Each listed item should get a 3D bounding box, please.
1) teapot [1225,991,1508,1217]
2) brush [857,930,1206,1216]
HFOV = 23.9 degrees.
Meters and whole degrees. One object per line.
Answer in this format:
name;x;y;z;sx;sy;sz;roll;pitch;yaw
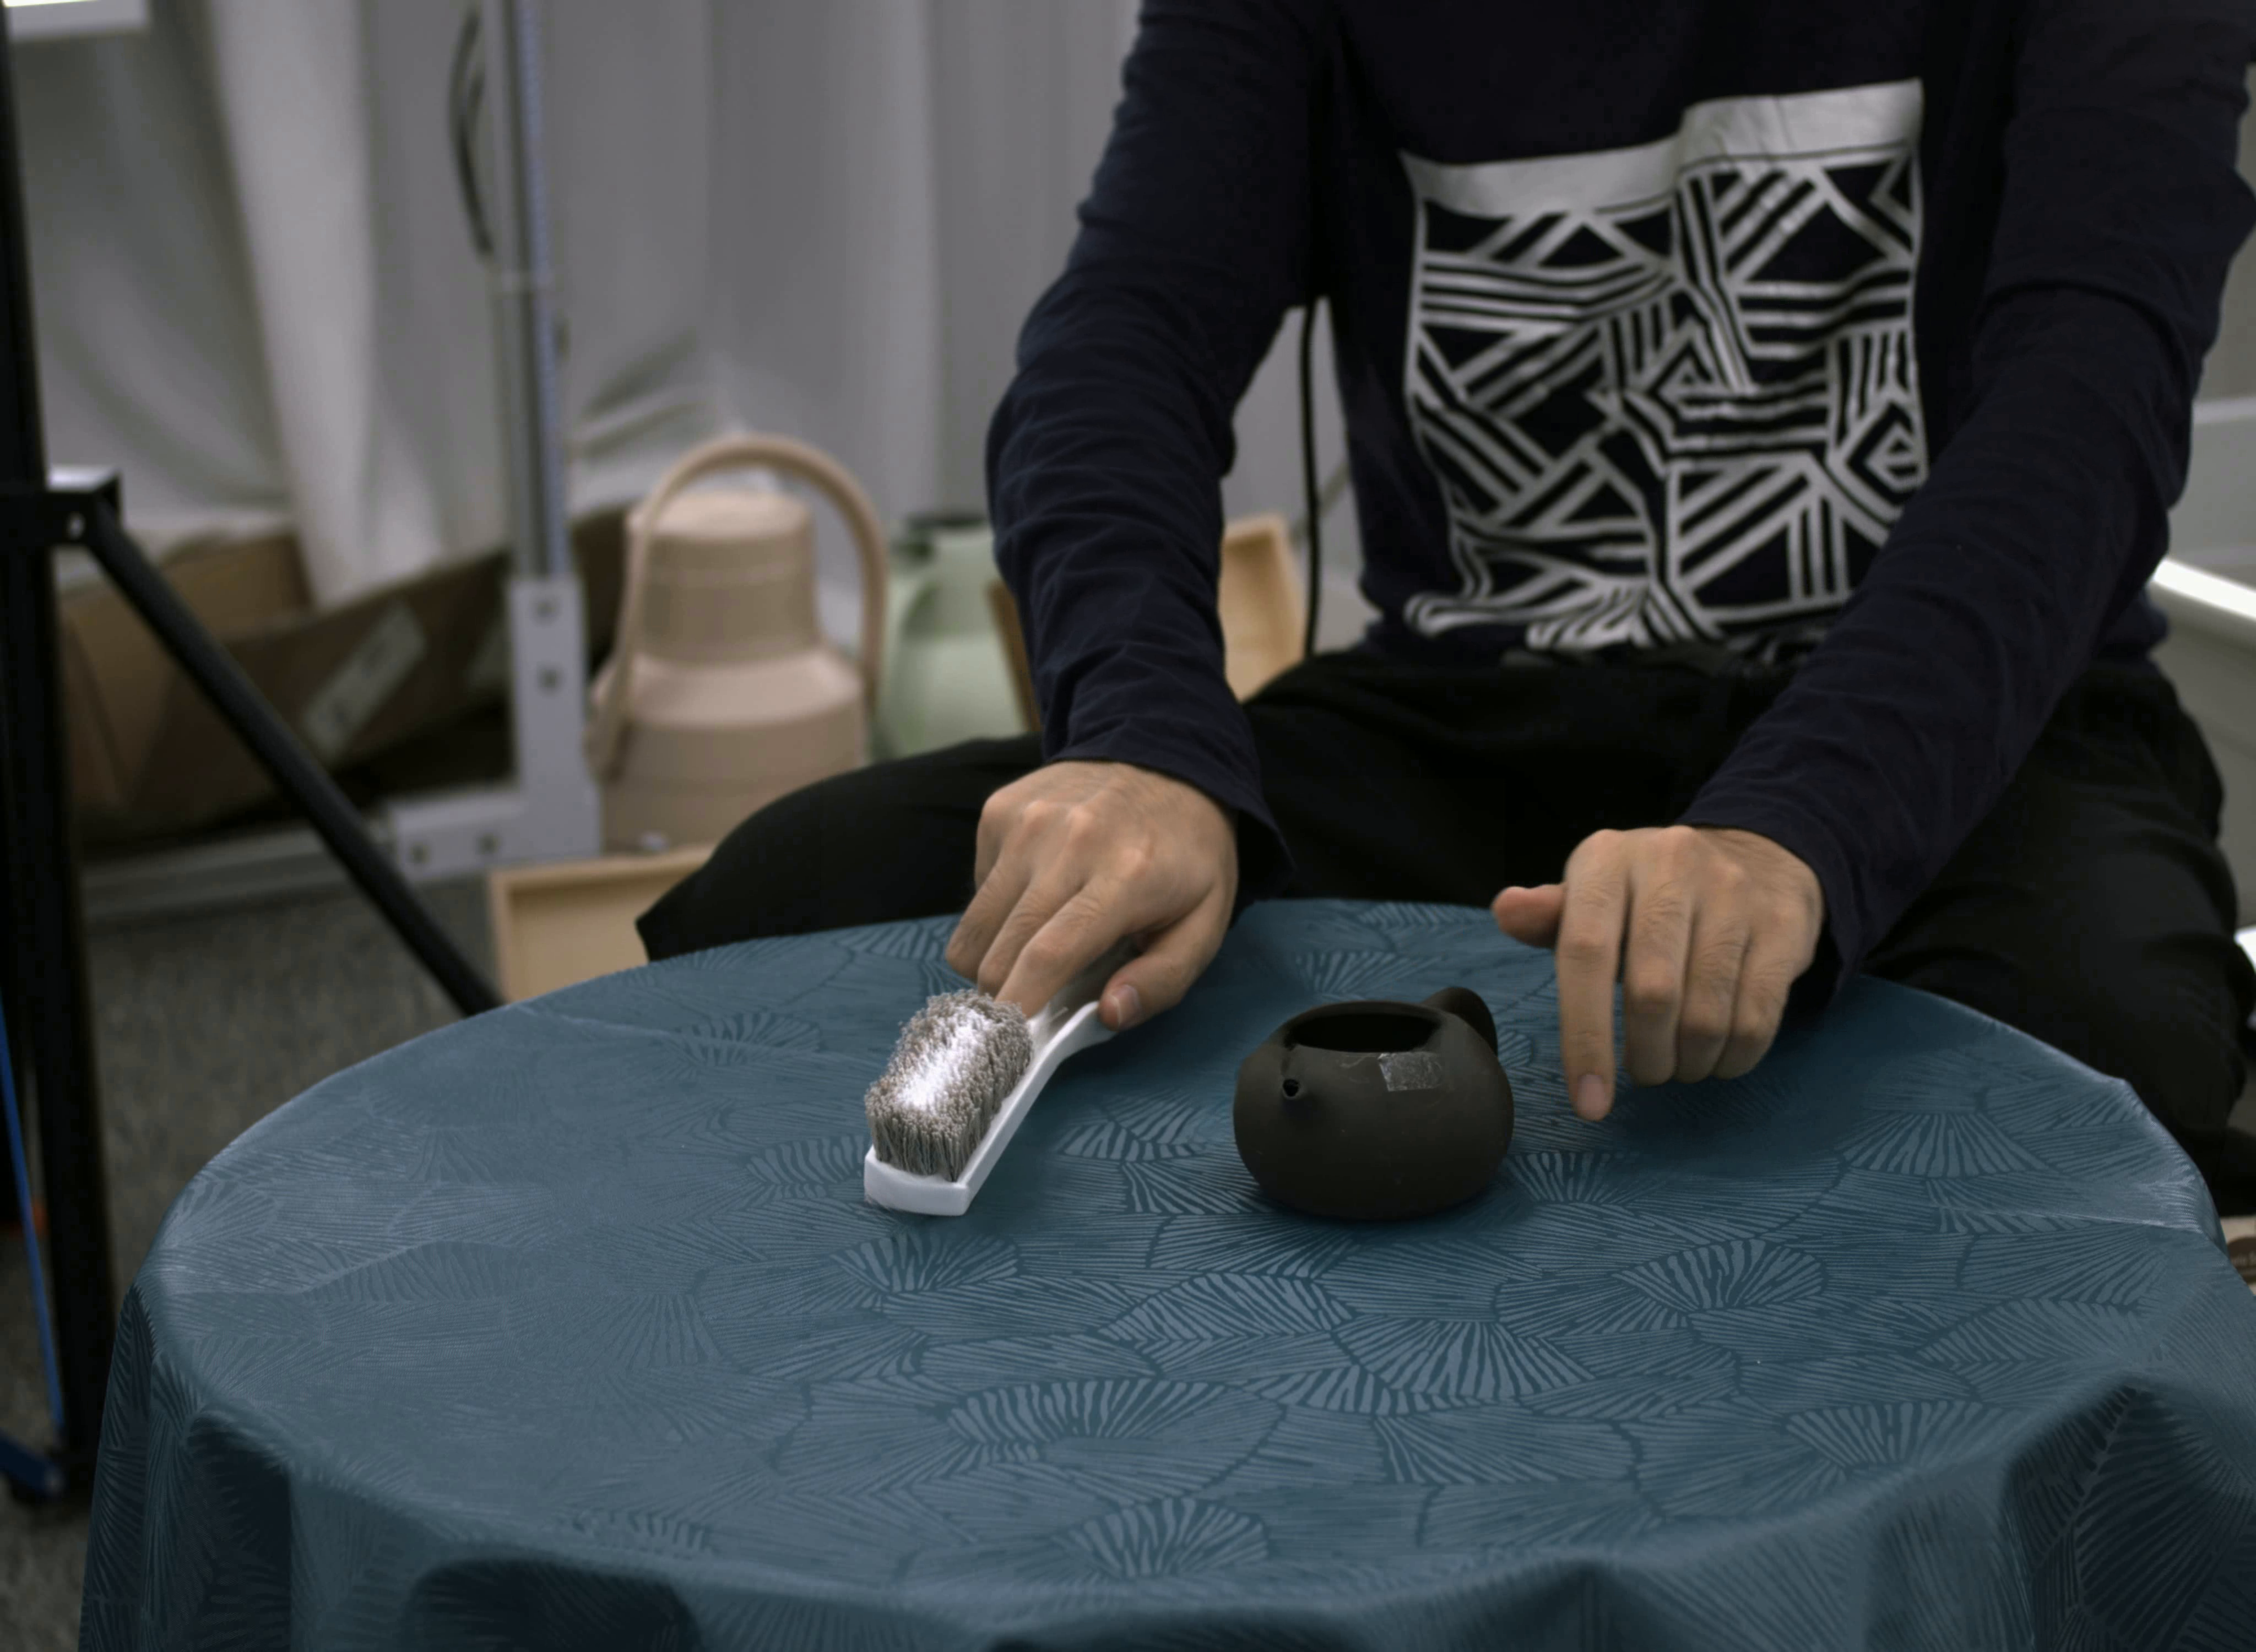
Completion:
teapot;0.077;0.079;1.558;0.084;0.053;0.112;7;19;34
brush;-0.023;0.056;1.637;0.035;0.050;0.240;16;23;18
